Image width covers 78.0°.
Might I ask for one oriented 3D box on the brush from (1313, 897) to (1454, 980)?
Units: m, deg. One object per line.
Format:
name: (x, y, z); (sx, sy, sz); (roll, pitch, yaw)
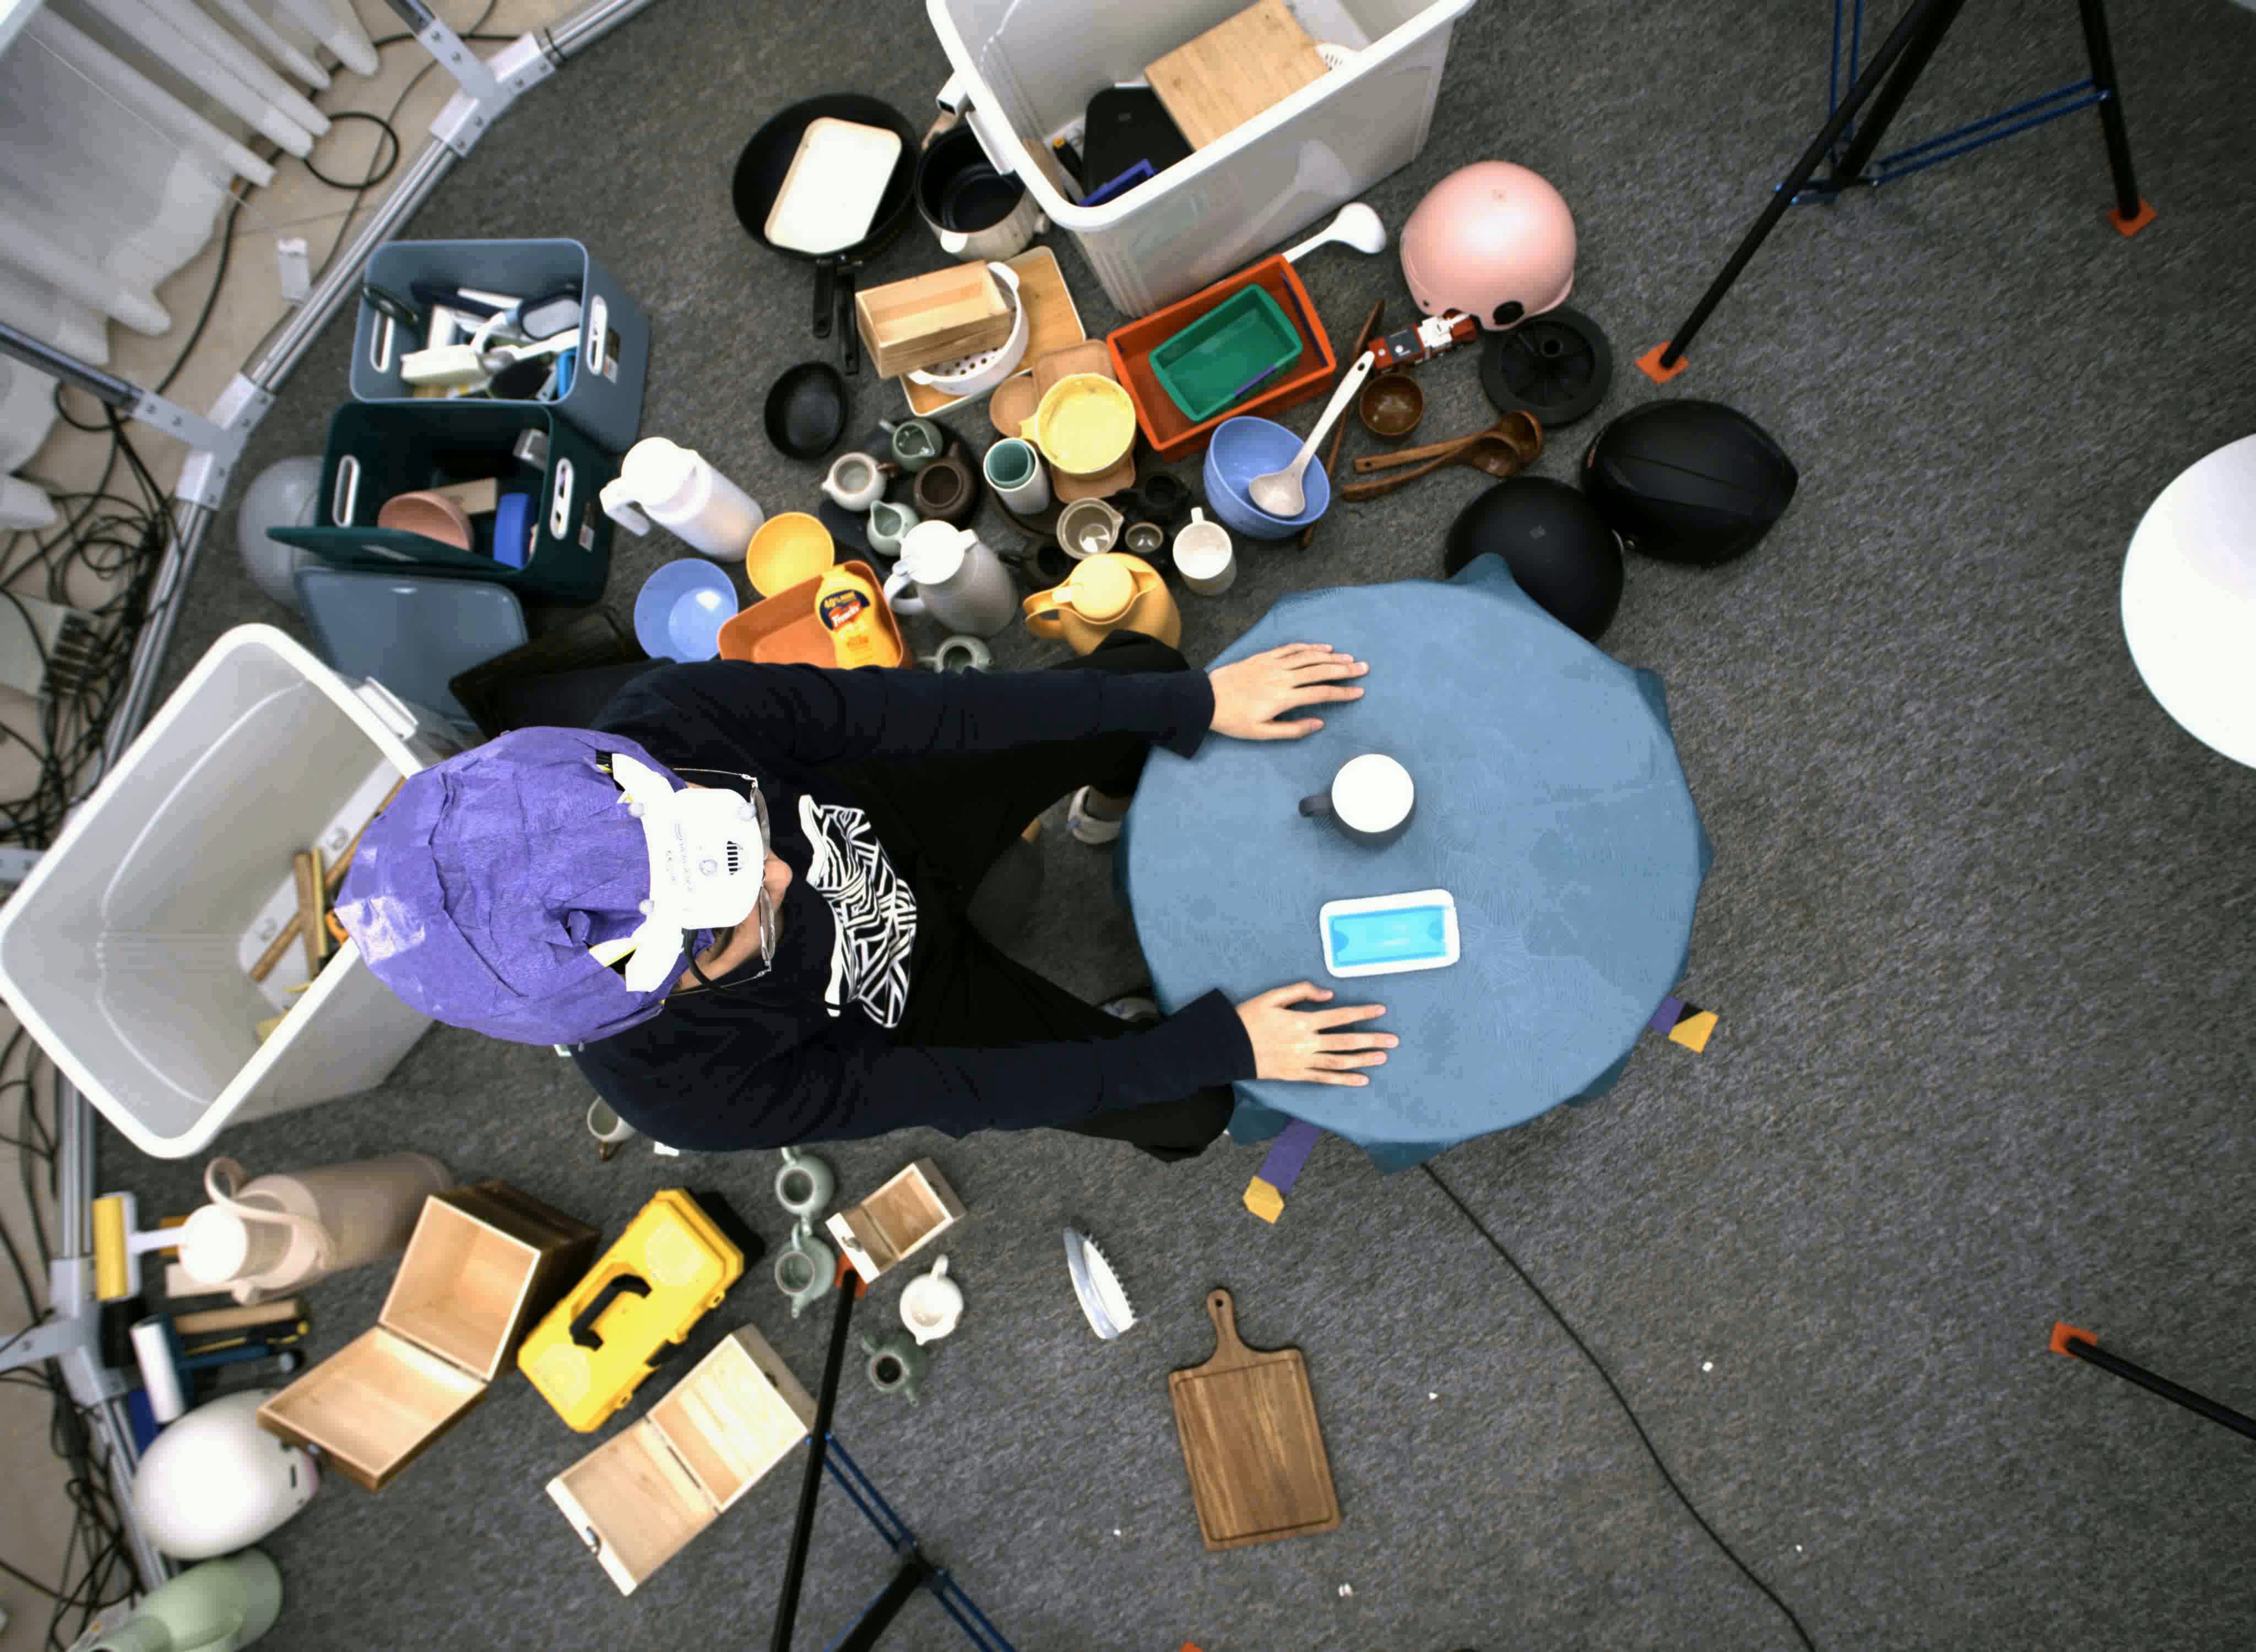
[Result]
brush: (0.263, 0.112, 1.427); (0.144, 0.056, 0.083); (-5, 82, 8)

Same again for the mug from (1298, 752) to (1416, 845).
mug: (0.236, -0.029, 1.421); (0.124, 0.090, 0.093); (-6, 83, 8)
